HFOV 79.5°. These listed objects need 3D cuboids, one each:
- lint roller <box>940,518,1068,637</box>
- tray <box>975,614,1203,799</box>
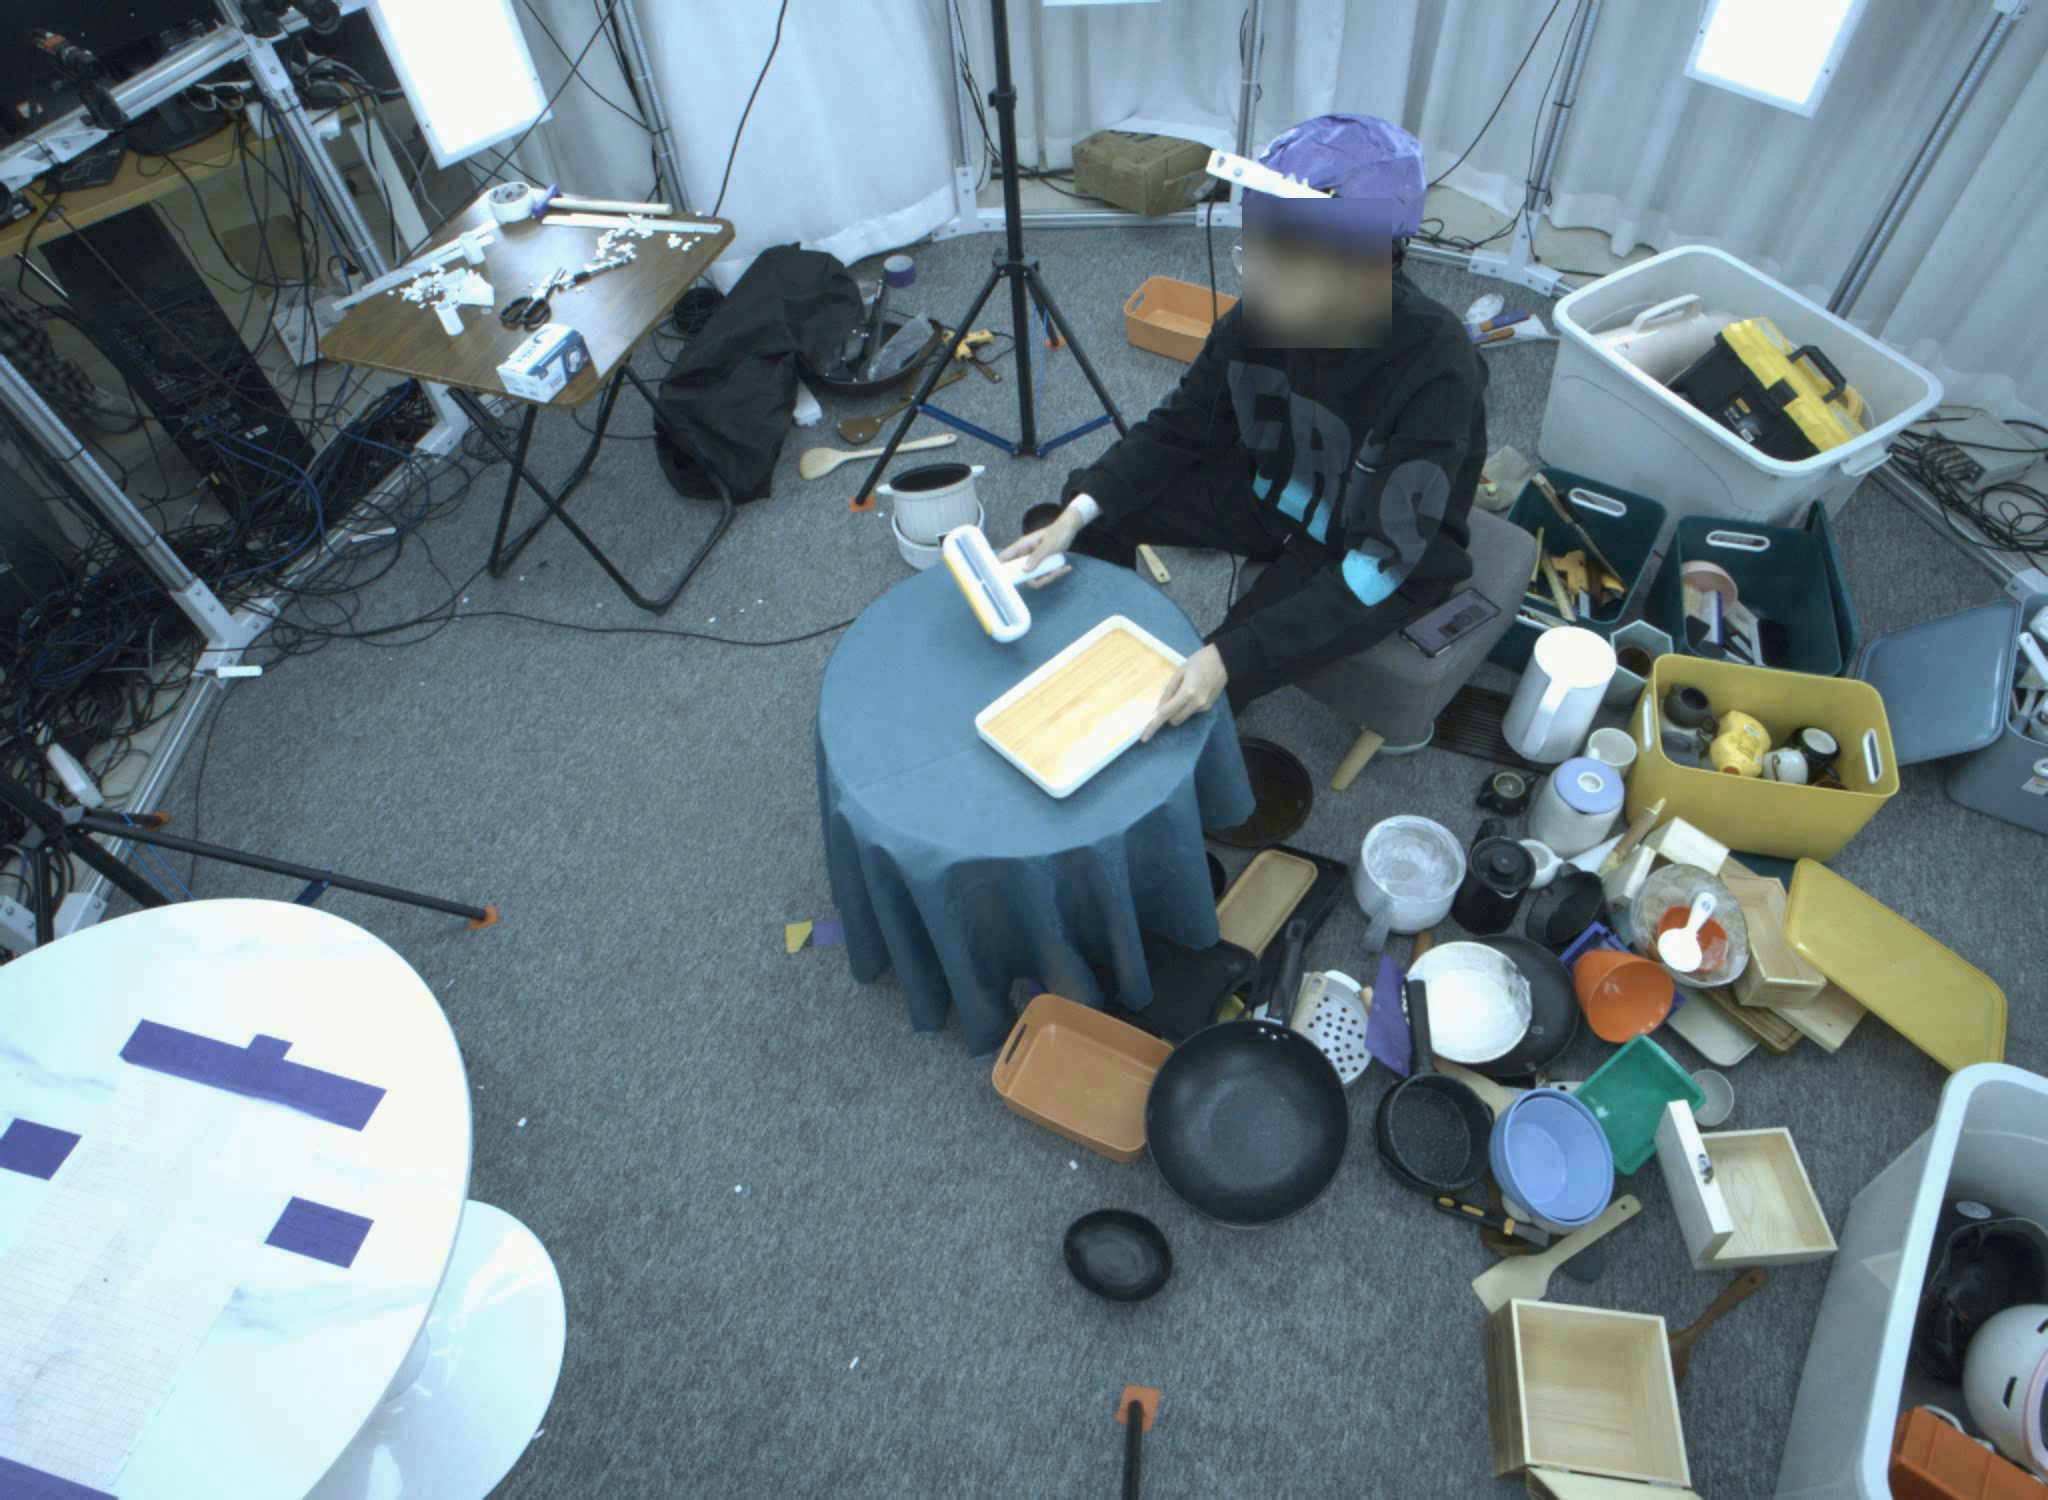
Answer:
[{"bbox_3d":[-0.014,-0.280,1.889,0.194,0.074,0.191,-24,79,-23],"label":"lint roller"},{"bbox_3d":[0.096,-0.069,1.795,0.302,0.028,0.188,-38,60,-21],"label":"tray"}]
